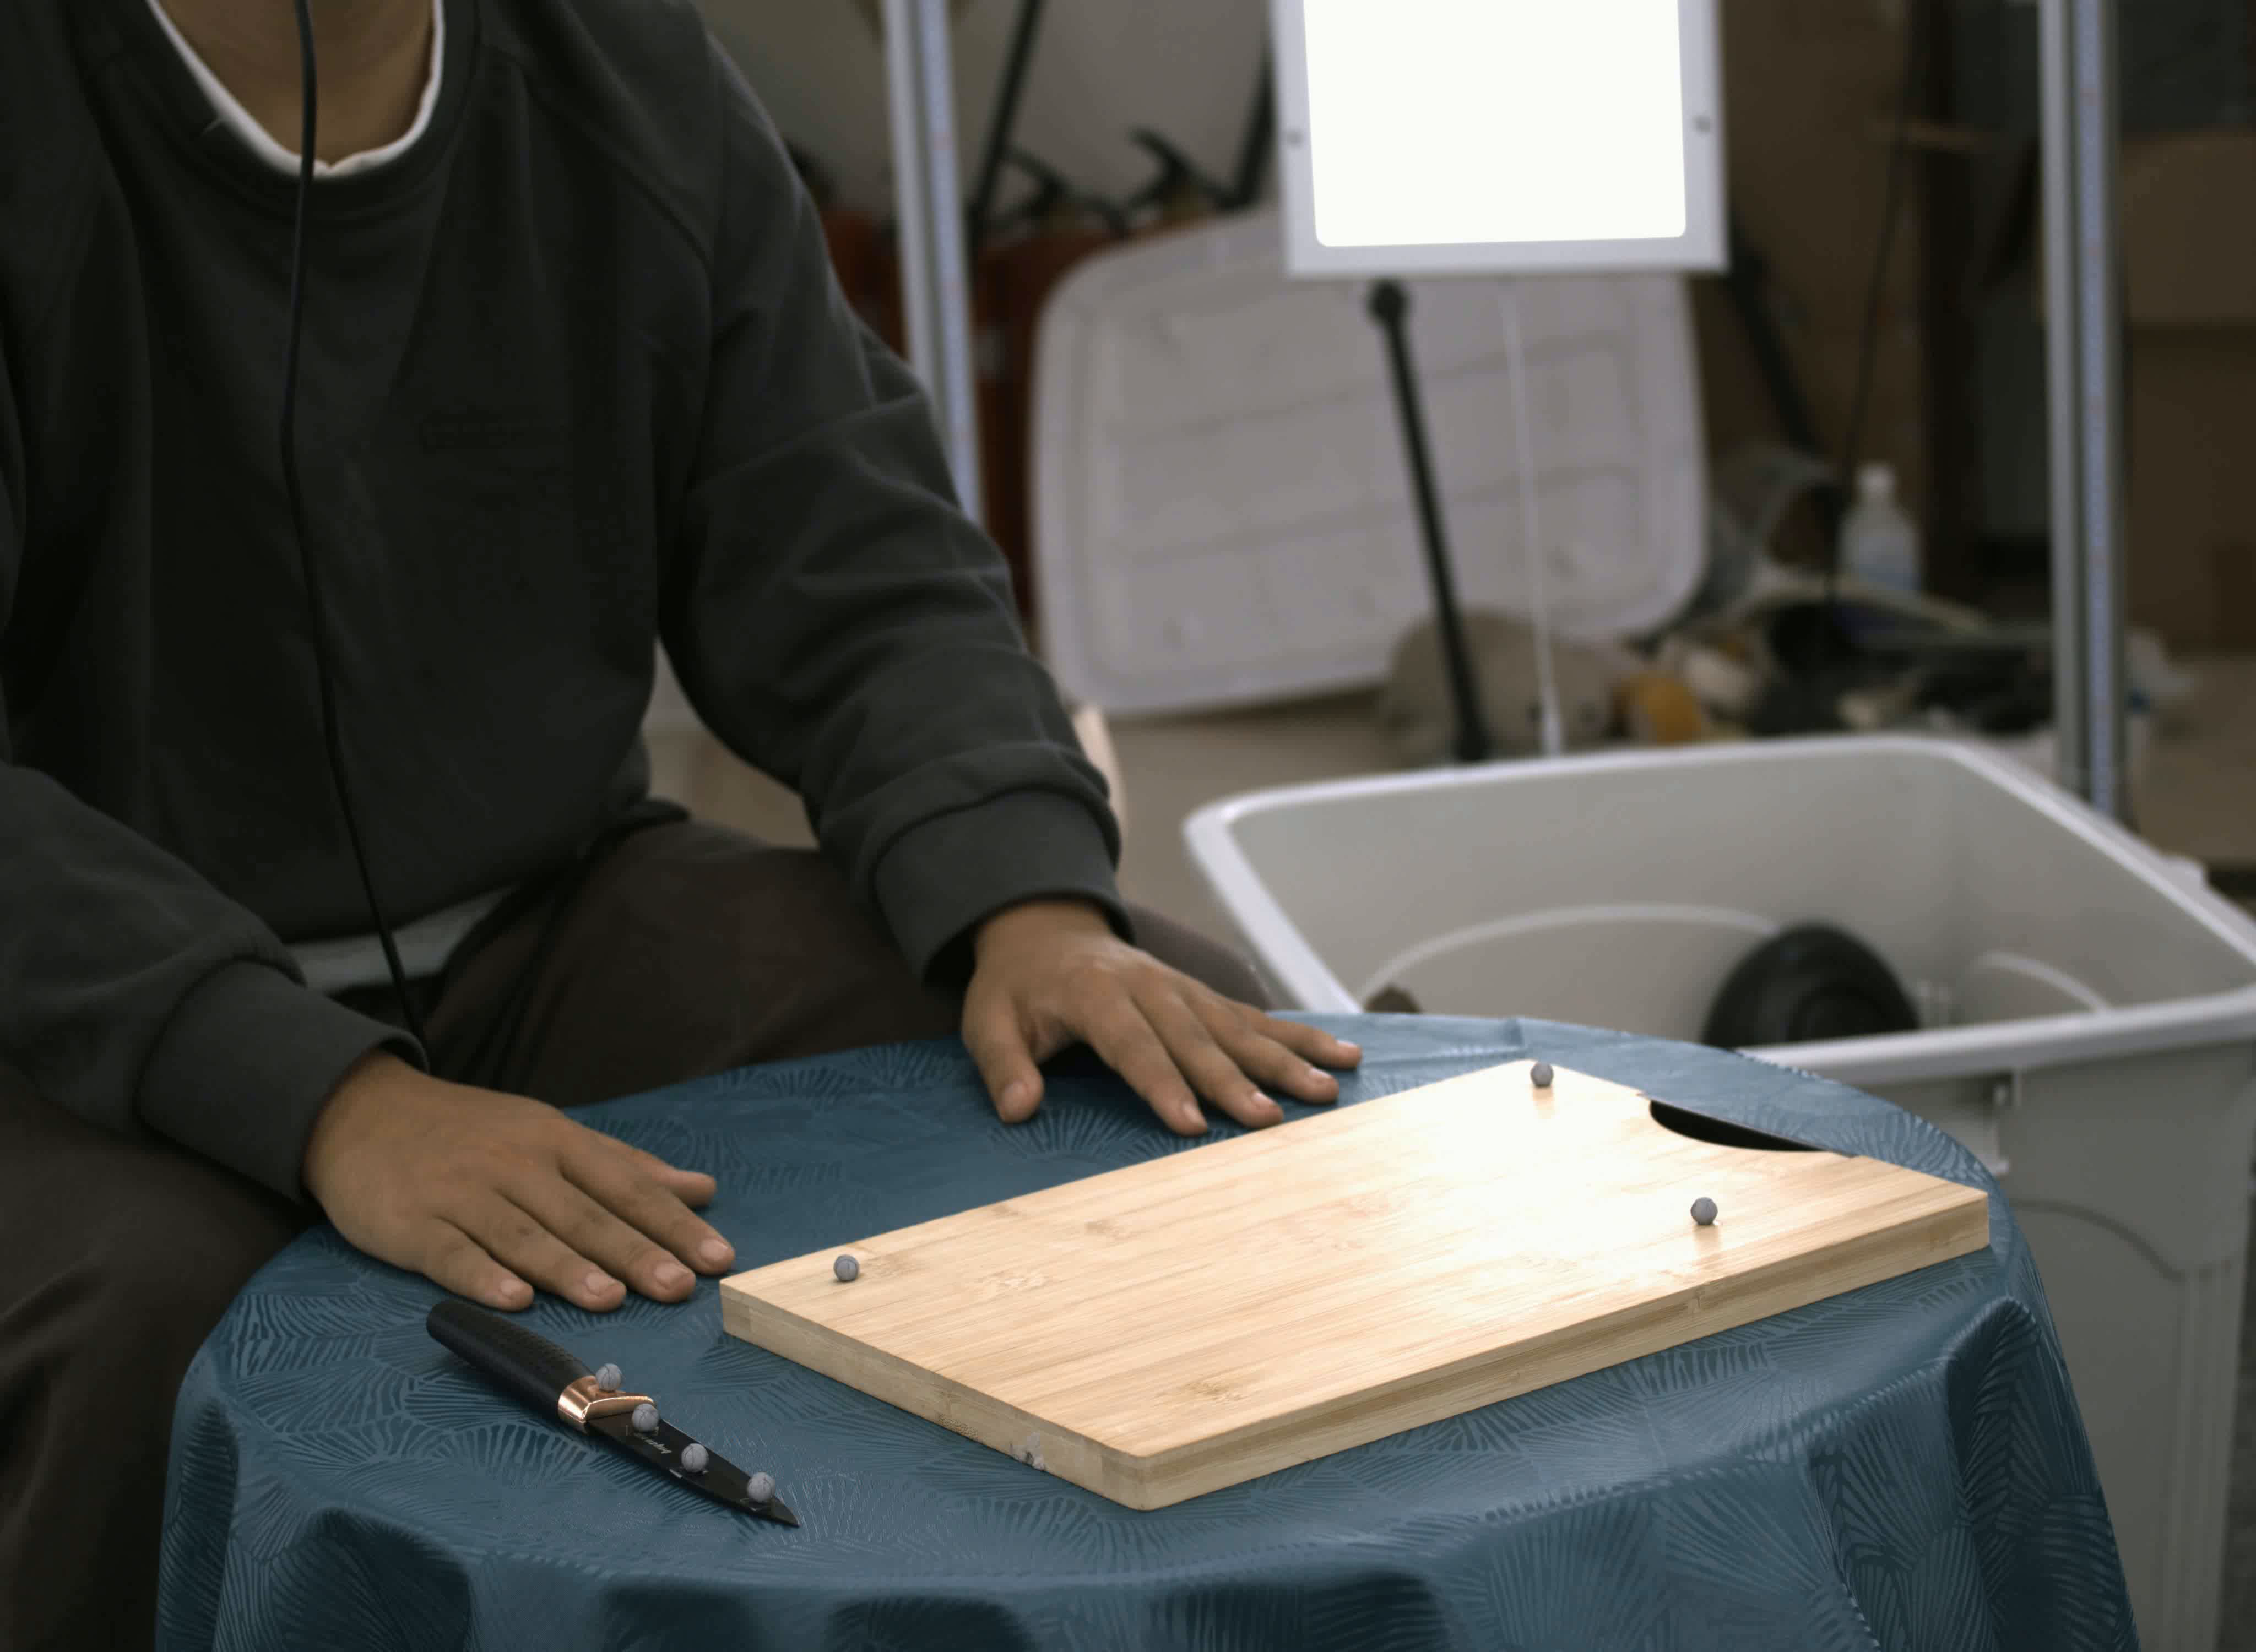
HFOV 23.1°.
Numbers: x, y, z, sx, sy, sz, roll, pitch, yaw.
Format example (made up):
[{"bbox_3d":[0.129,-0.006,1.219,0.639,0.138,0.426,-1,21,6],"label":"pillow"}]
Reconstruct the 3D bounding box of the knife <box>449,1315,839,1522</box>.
[{"bbox_3d":[-0.152,0.183,1.699,0.025,0.017,0.230,-4,12,-32],"label":"knife"}]

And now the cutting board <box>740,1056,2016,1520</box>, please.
[{"bbox_3d":[0.079,0.141,1.776,0.340,0.023,0.256,-14,16,-32],"label":"cutting board"}]
